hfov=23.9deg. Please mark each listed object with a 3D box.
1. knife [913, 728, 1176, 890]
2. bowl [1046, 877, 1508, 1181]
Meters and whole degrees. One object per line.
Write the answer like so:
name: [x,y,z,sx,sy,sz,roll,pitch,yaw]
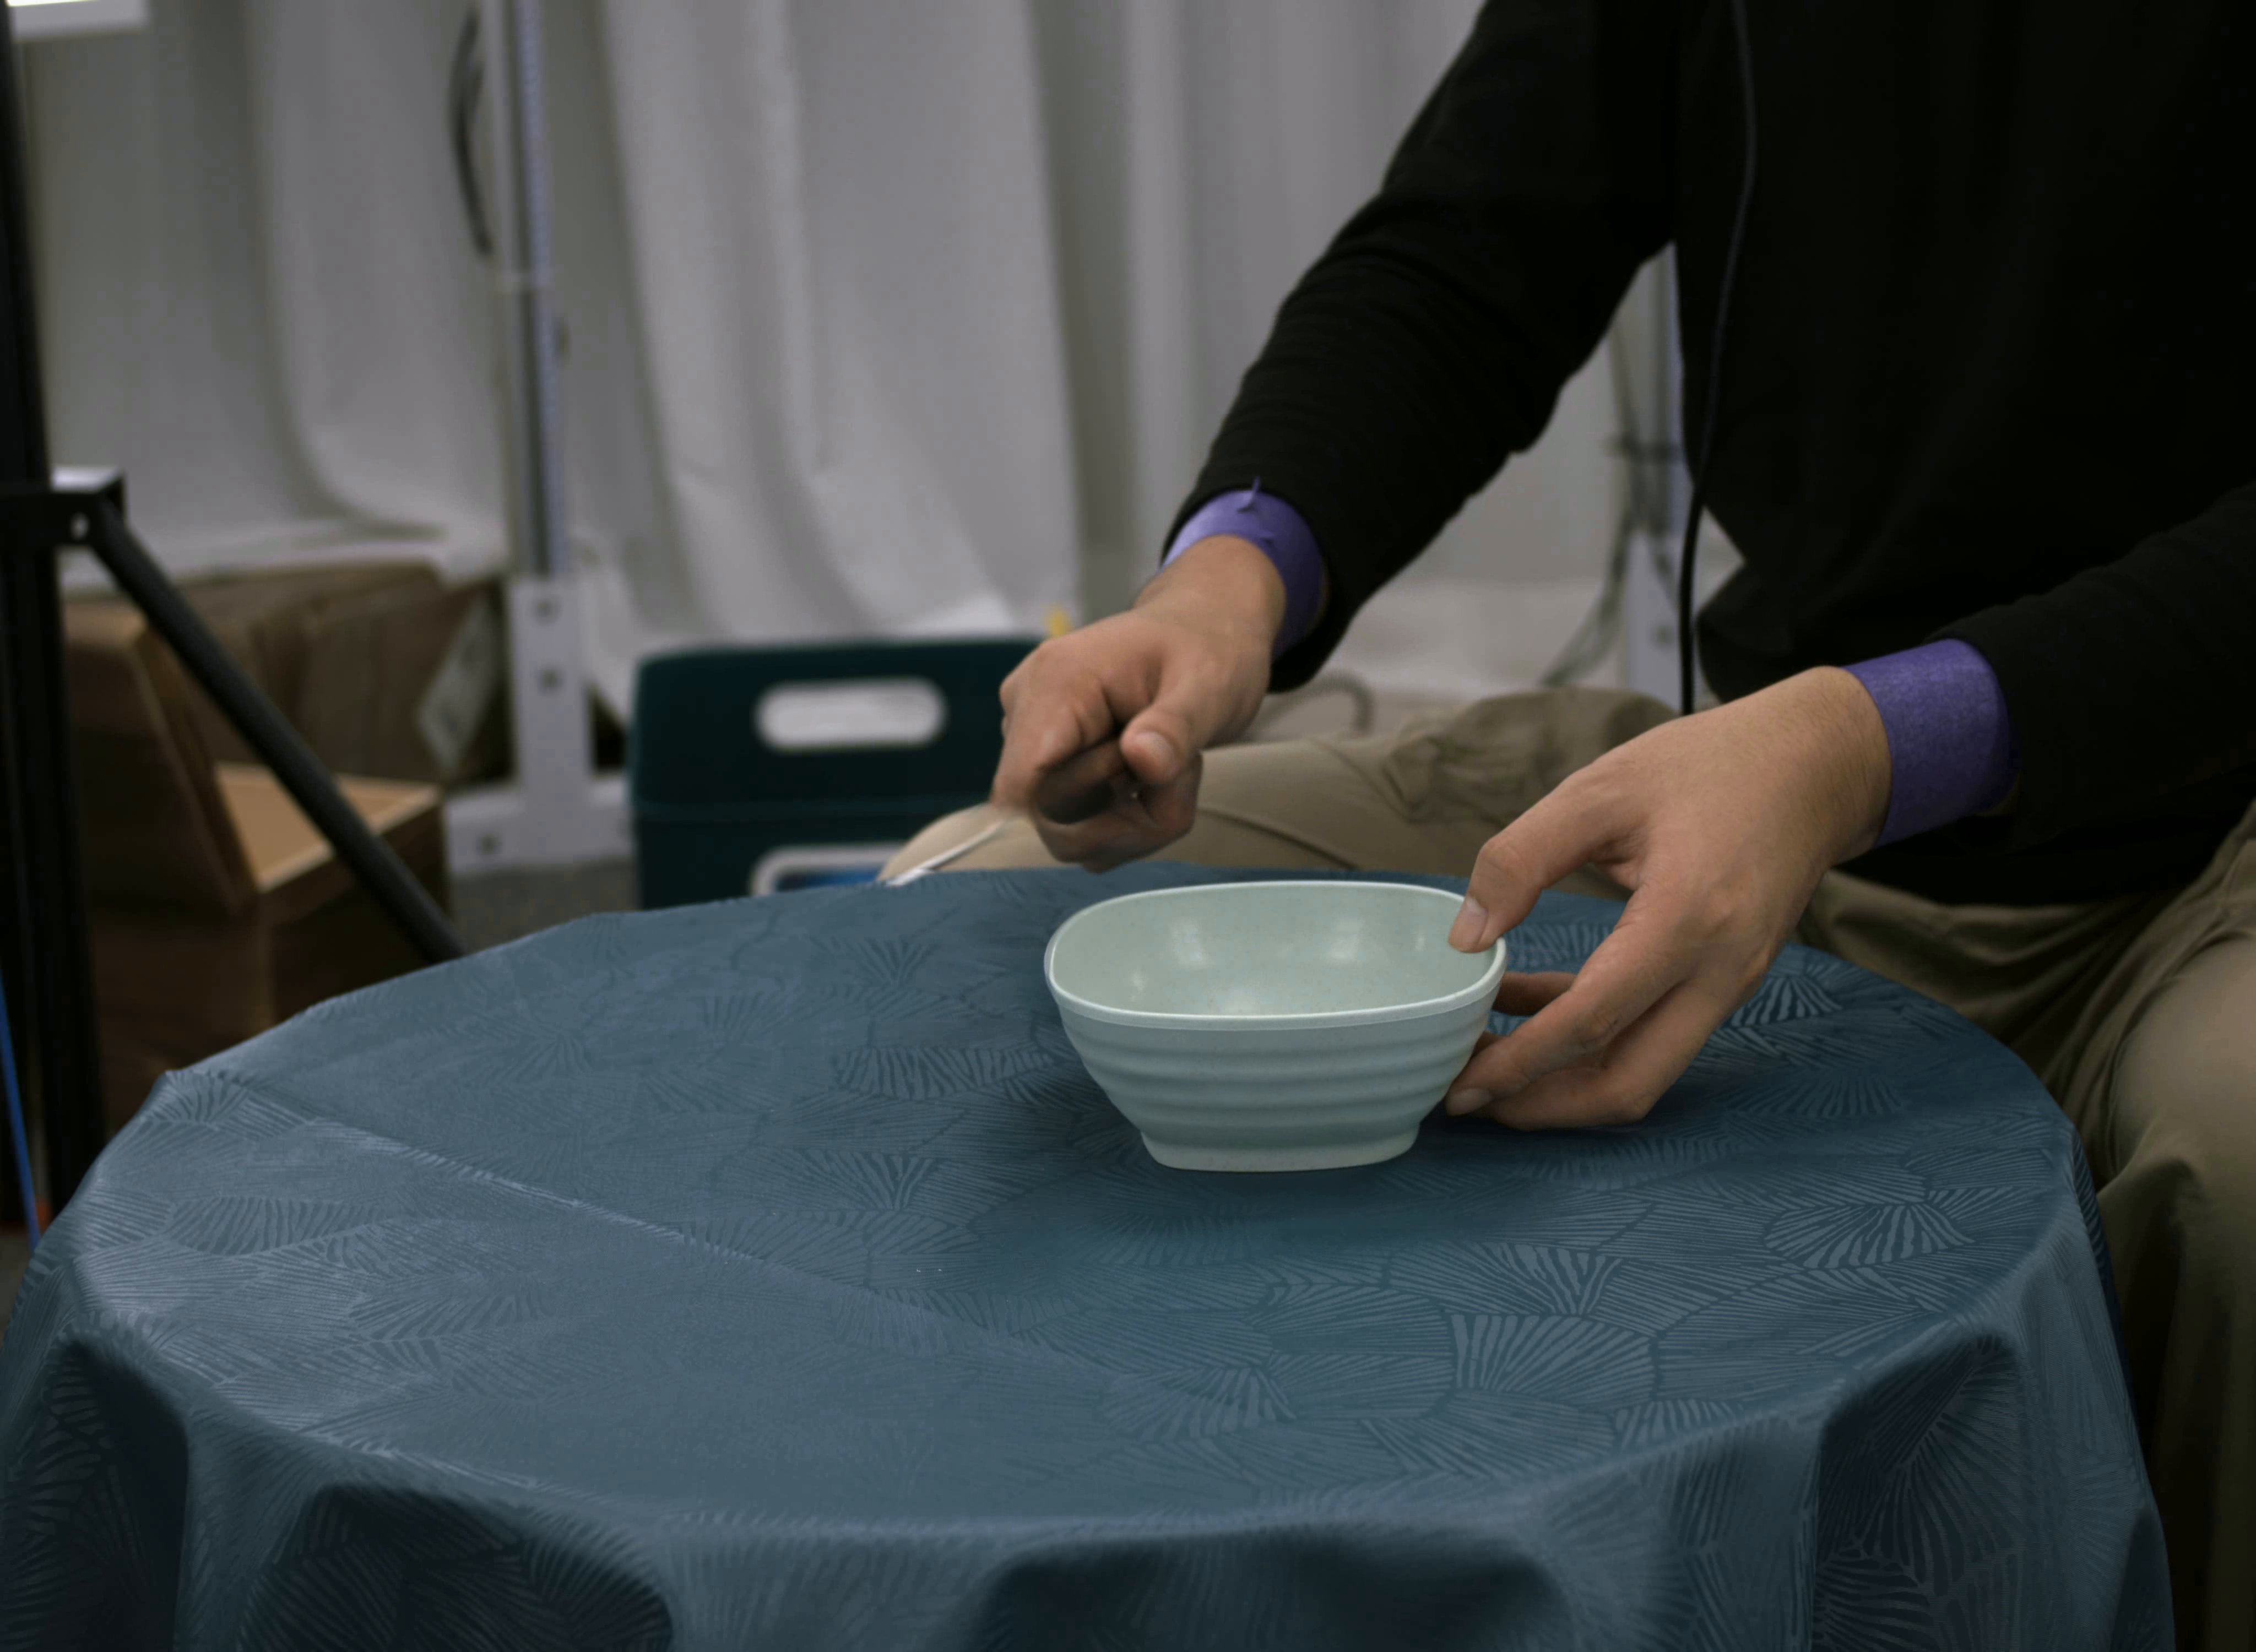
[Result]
knife: [-0.024,-0.004,1.665,0.050,0.020,0.286,-26,1,15]
bowl: [0.046,0.065,1.599,0.151,0.058,0.152,-3,17,0]
